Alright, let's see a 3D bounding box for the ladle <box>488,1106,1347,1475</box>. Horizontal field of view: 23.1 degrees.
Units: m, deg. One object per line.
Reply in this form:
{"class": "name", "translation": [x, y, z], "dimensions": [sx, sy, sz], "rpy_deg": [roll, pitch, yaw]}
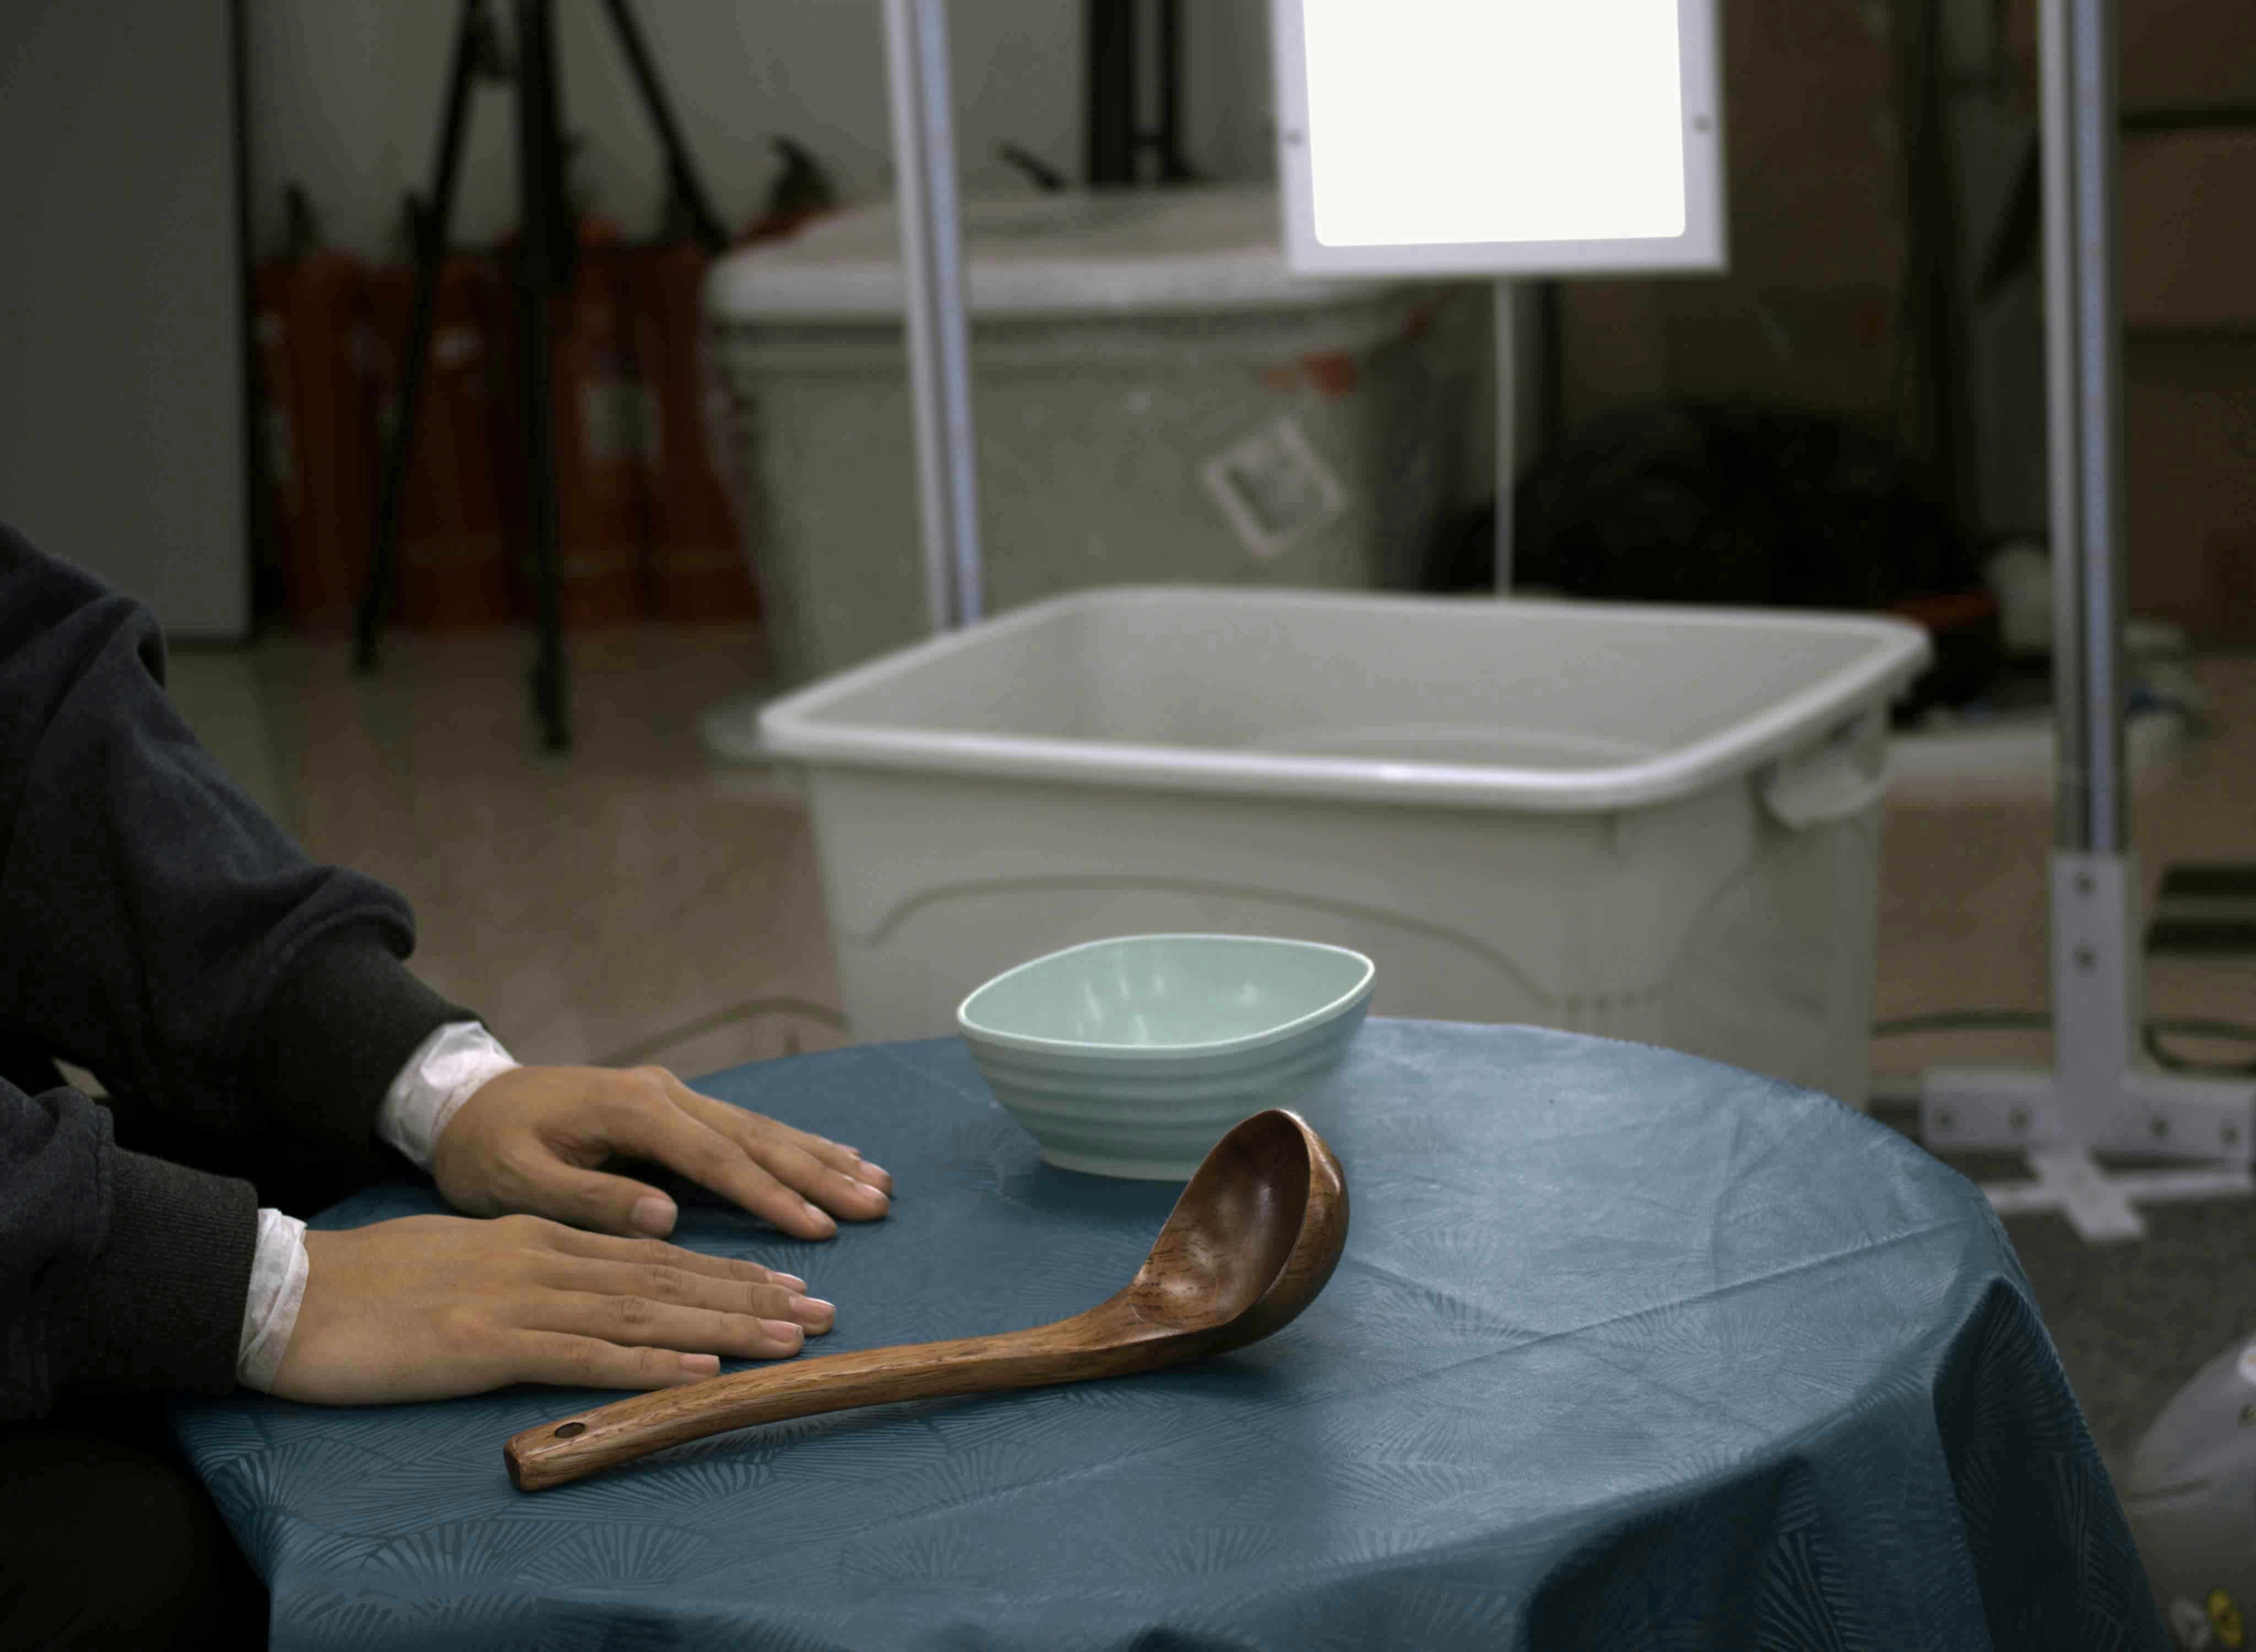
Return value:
{"class": "ladle", "translation": [-0.063, 0.142, 1.692], "dimensions": [0.270, 0.077, 0.082], "rpy_deg": [-8, 18, -13]}

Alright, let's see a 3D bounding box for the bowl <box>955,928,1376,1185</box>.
{"class": "bowl", "translation": [0.015, 0.084, 1.942], "dimensions": [0.151, 0.059, 0.151], "rpy_deg": [-3, 15, -1]}
